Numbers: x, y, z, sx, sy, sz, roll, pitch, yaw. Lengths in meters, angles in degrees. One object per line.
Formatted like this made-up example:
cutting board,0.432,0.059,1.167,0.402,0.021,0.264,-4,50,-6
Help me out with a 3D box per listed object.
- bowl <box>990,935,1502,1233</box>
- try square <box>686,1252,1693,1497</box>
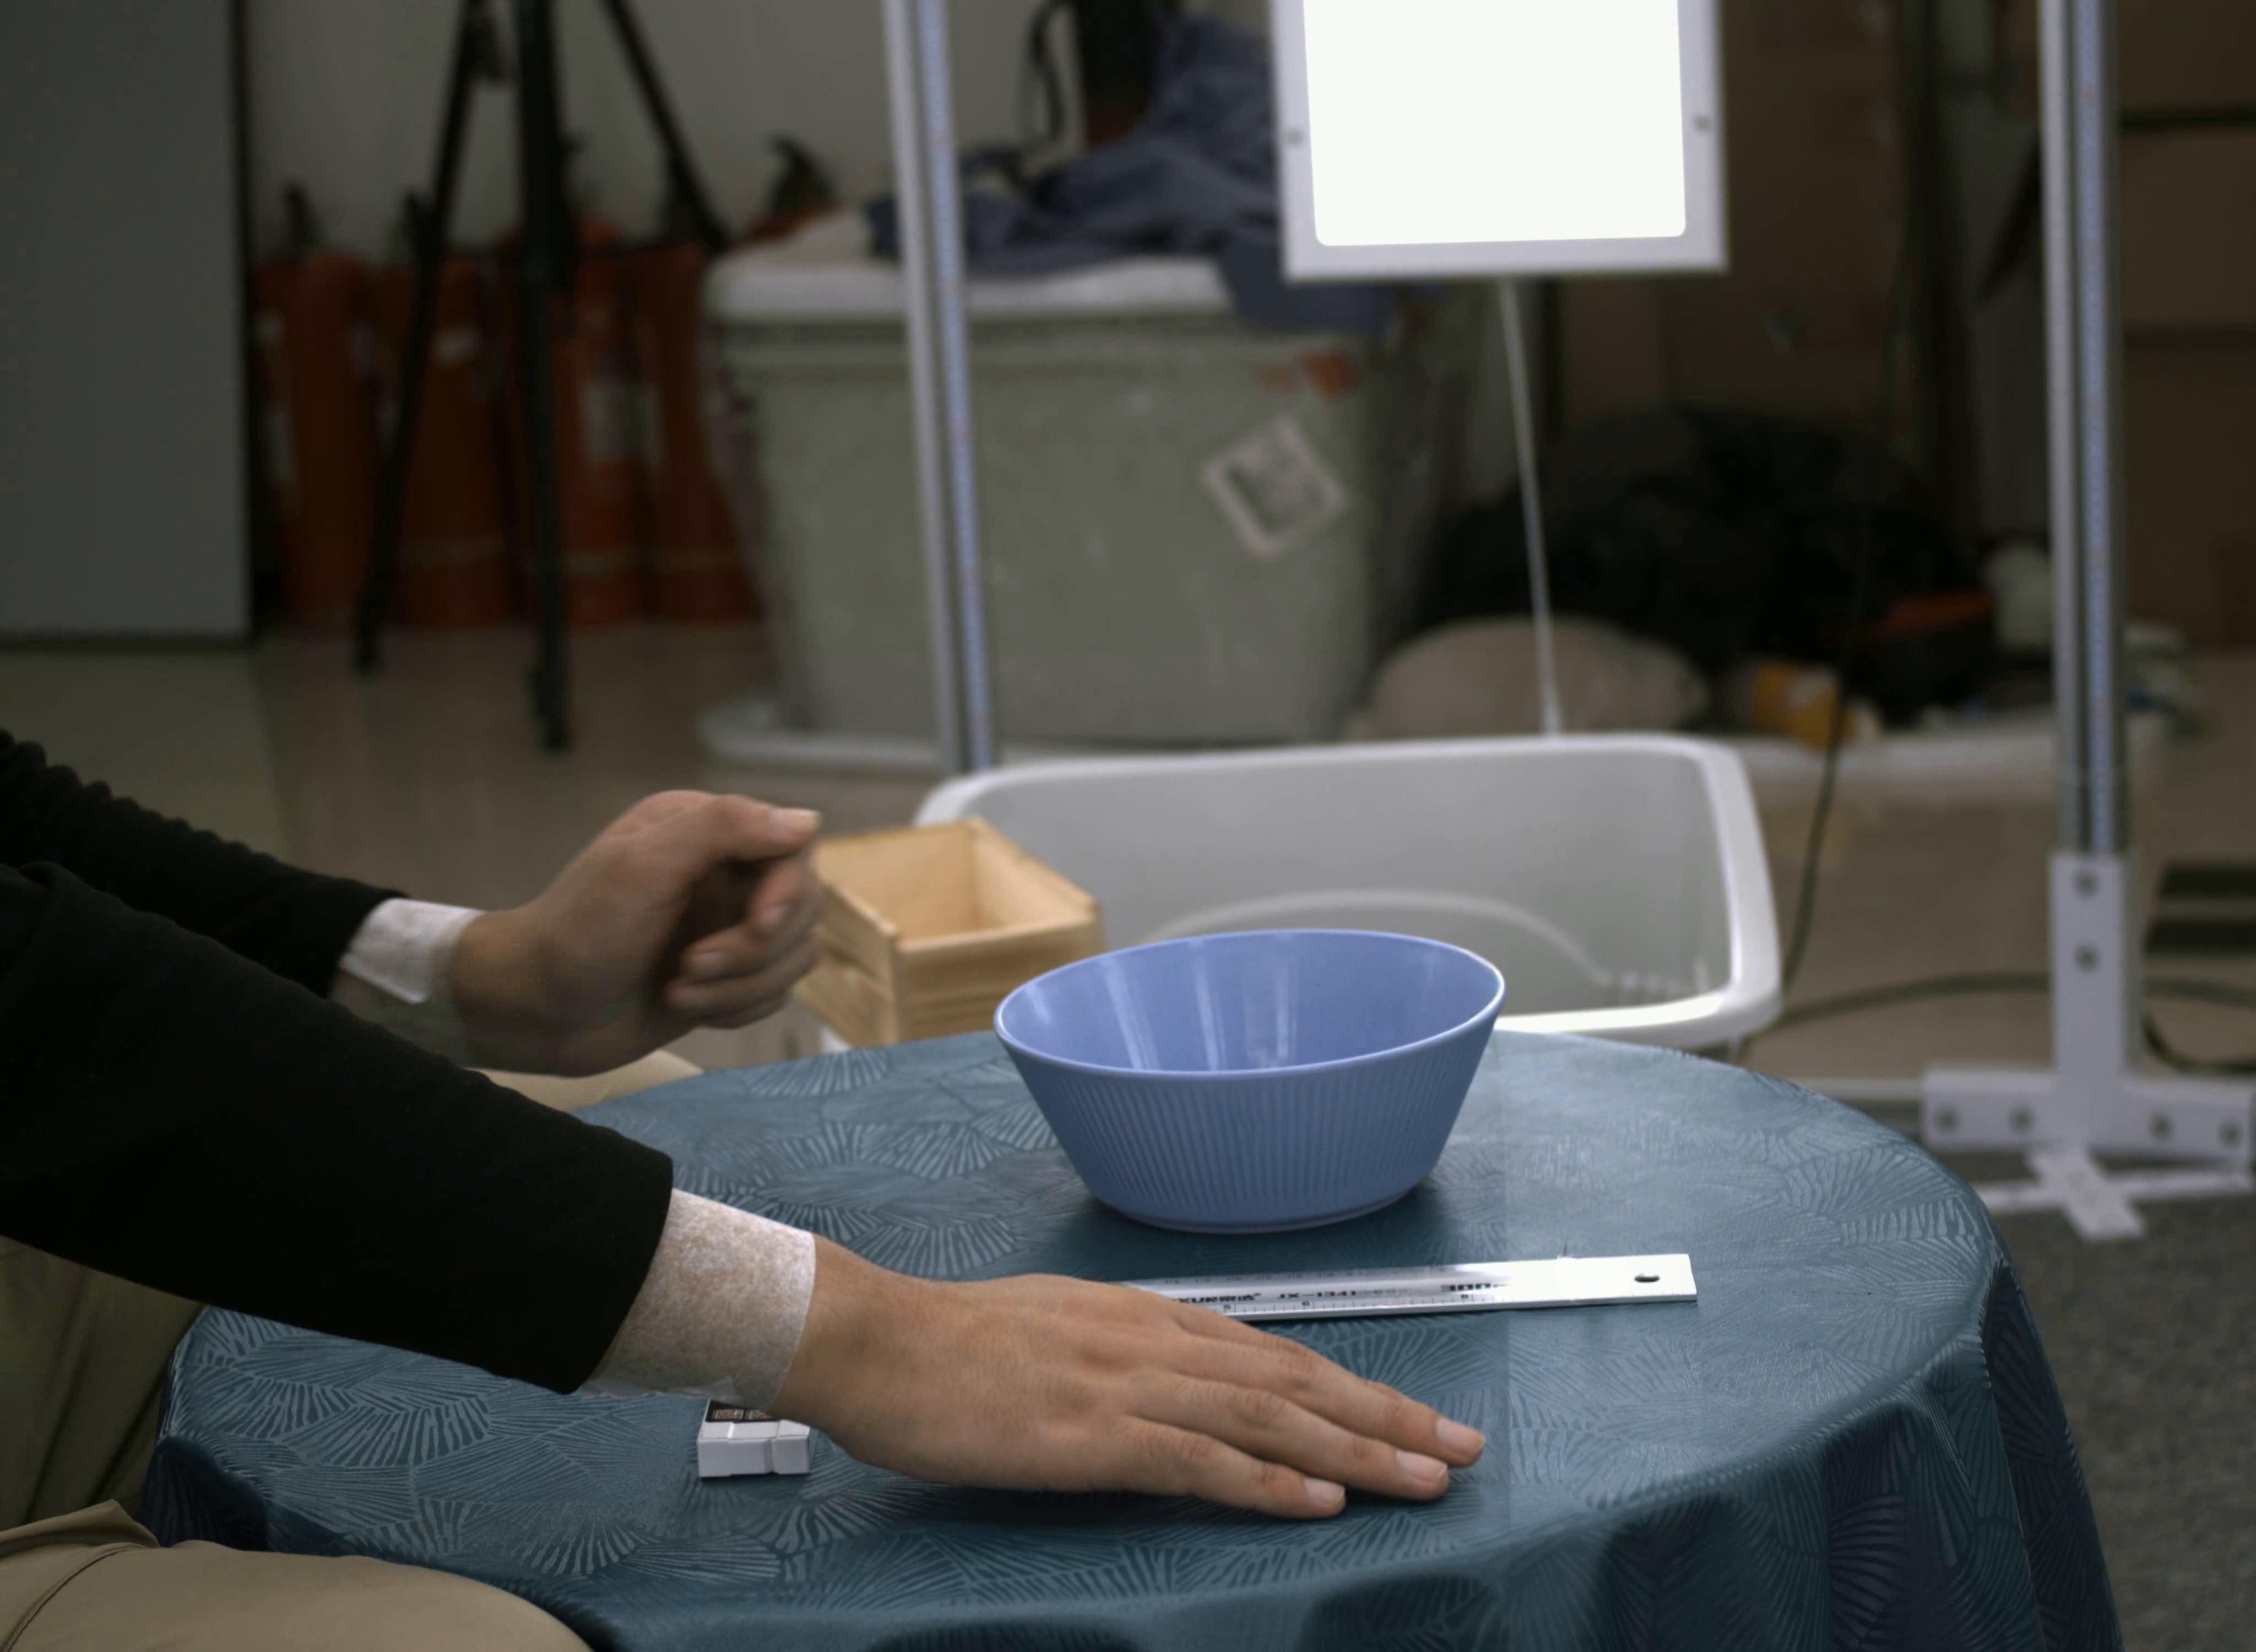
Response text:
bowl,0.042,0.090,1.884,0.175,0.070,0.176,-5,14,0
try square,0.023,0.167,1.718,0.313,0.016,0.151,-3,17,5
